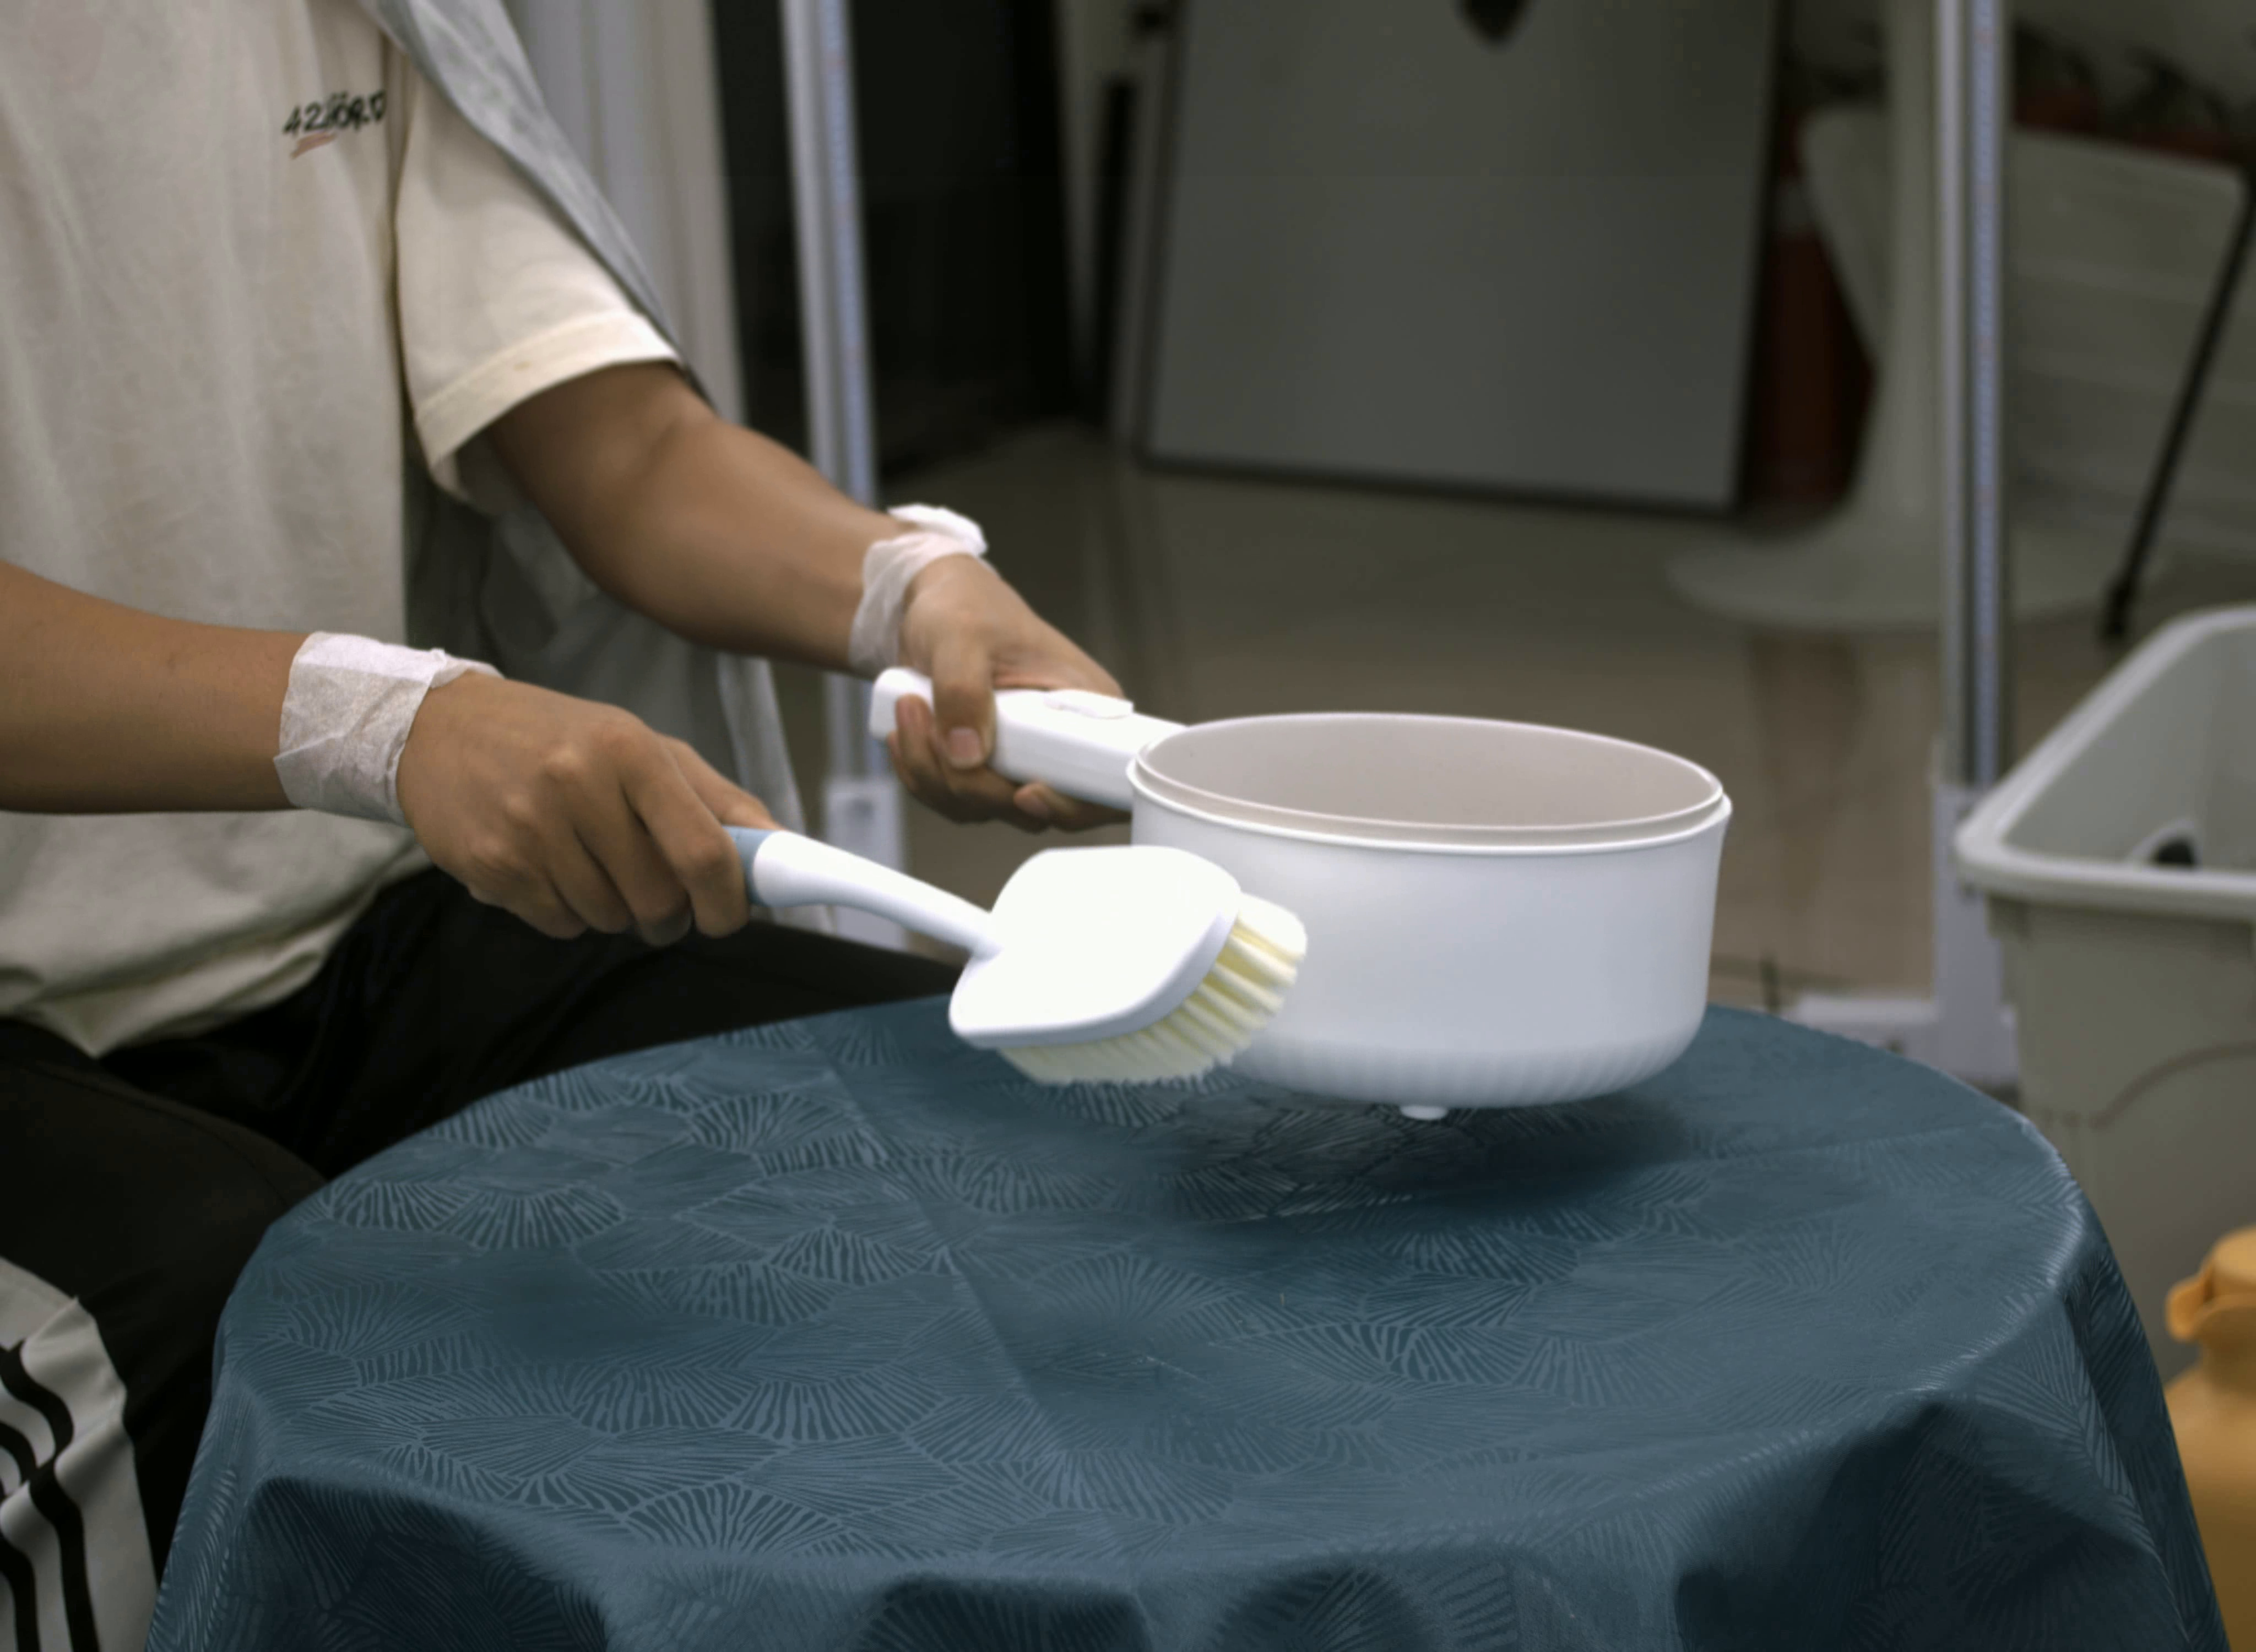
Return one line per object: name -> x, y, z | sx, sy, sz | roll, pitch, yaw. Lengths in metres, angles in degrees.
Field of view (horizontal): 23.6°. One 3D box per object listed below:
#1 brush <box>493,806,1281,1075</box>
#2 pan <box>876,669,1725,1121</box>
brush -> -0.071, 0.030, 1.705 | 0.328, 0.085, 0.081 | 4, 24, 44
pan -> 0.042, 0.018, 1.843 | 0.197, 0.103, 0.358 | -8, 14, -44
